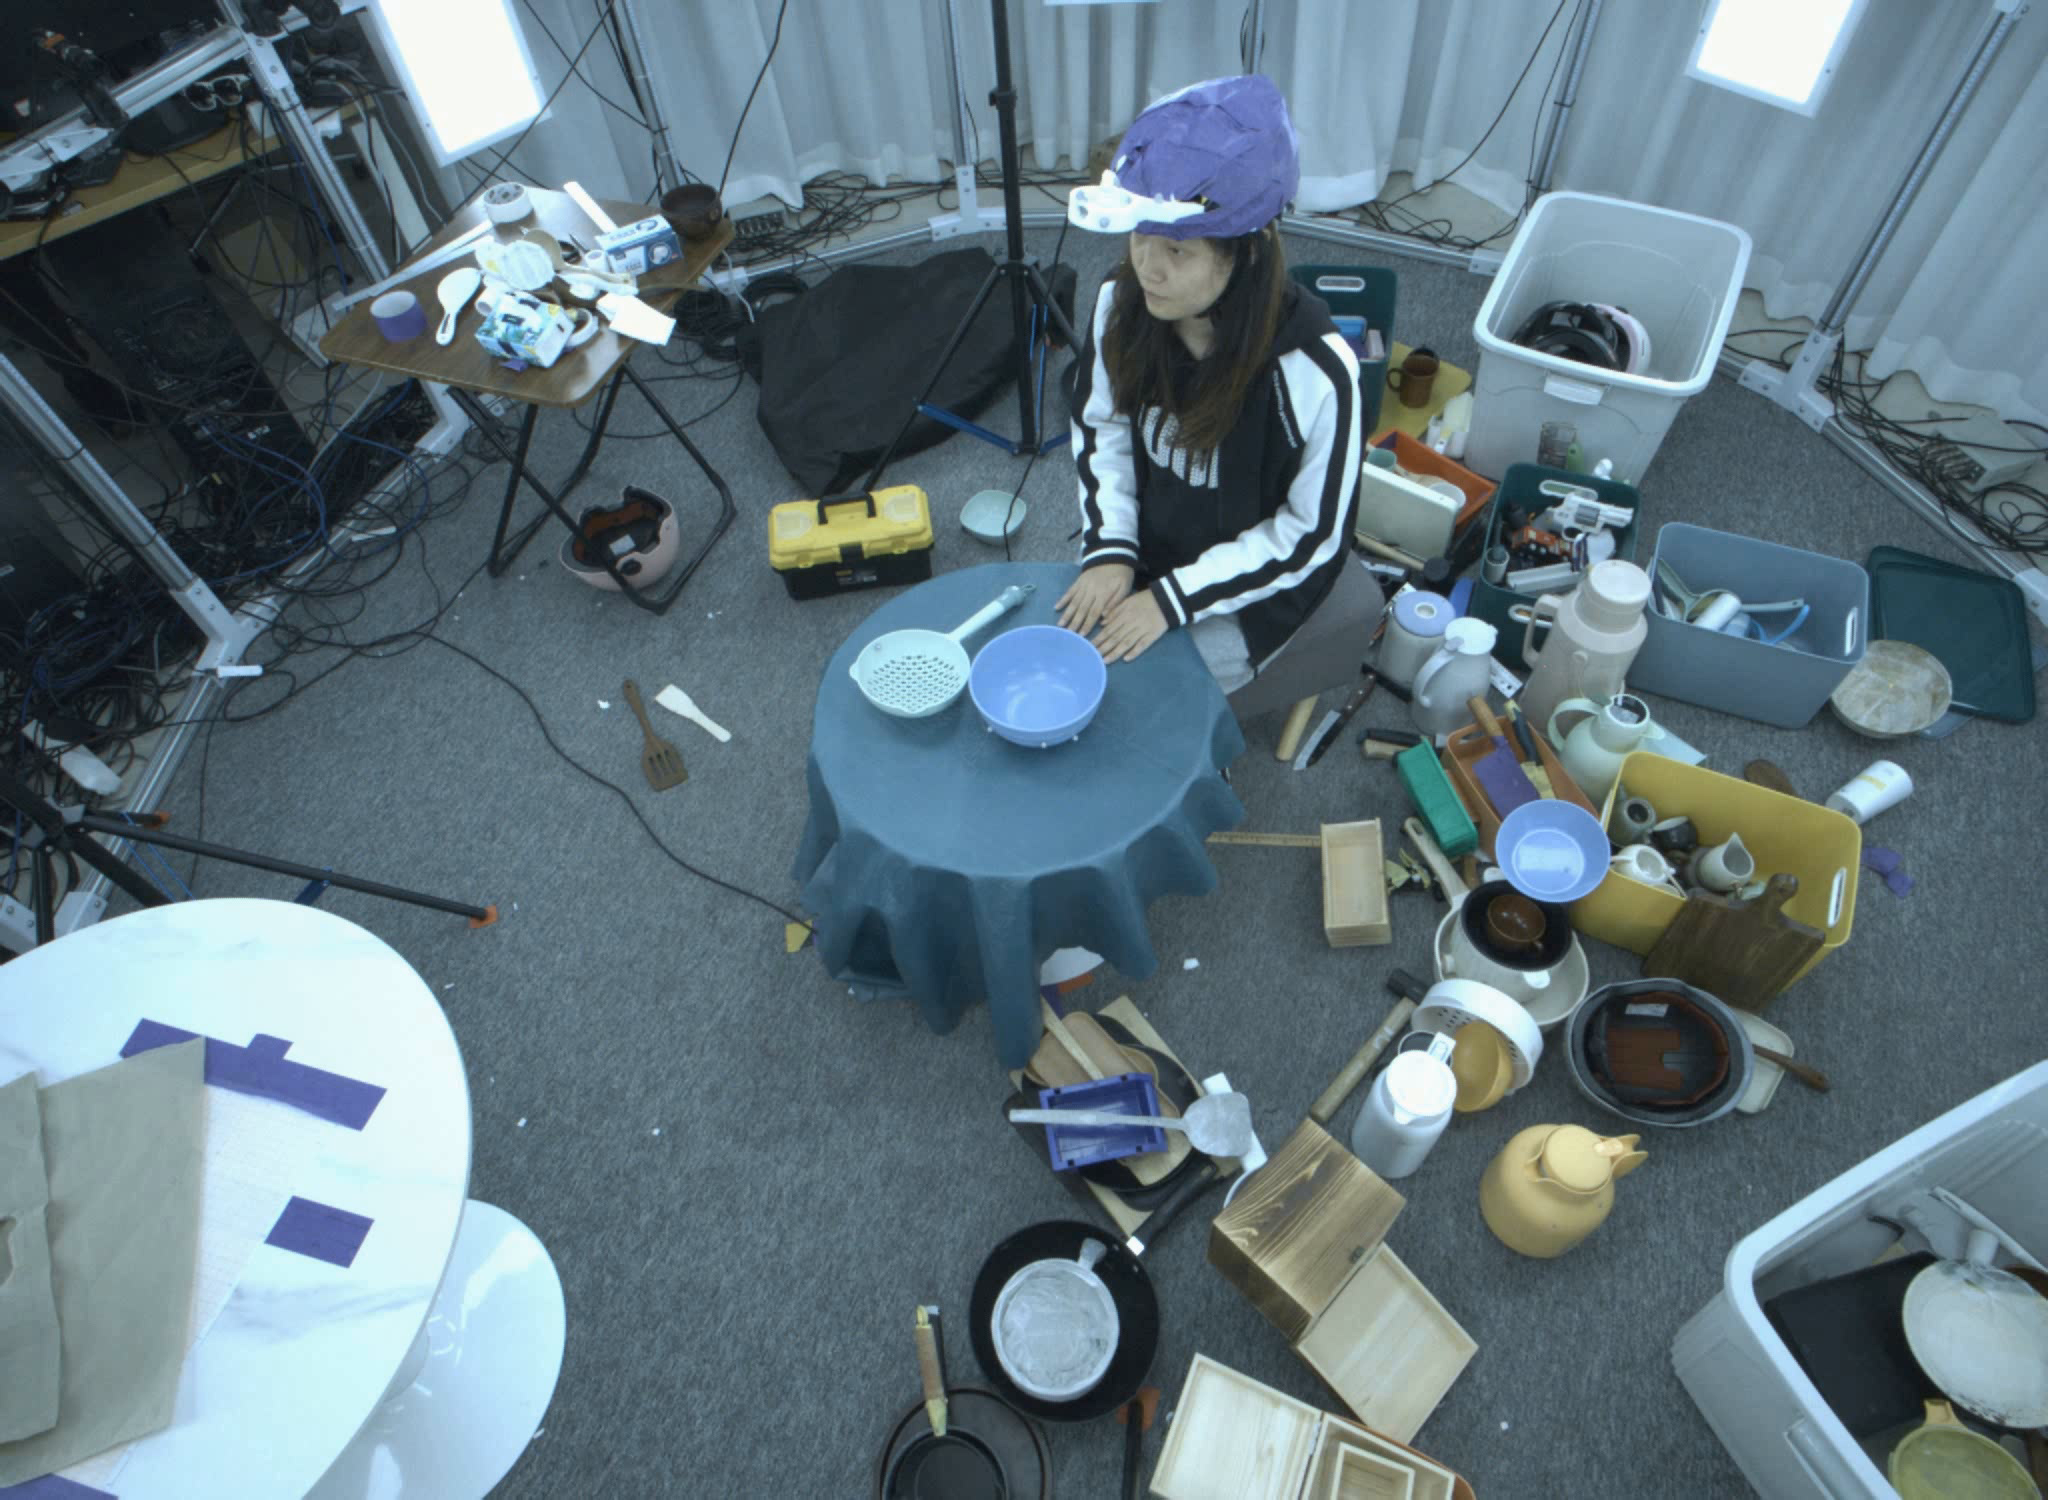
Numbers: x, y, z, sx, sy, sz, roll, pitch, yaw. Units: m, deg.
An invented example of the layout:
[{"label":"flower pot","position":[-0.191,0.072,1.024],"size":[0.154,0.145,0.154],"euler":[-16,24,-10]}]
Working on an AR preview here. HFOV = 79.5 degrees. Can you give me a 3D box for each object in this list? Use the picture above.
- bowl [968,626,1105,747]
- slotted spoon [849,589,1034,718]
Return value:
[{"label":"bowl","position":[0.020,-0.077,1.783],"size":[0.196,0.096,0.194],"euler":[-1,55,2]},{"label":"slotted spoon","position":[-0.103,-0.165,1.872],"size":[0.166,0.076,0.361],"euler":[33,60,22]}]
